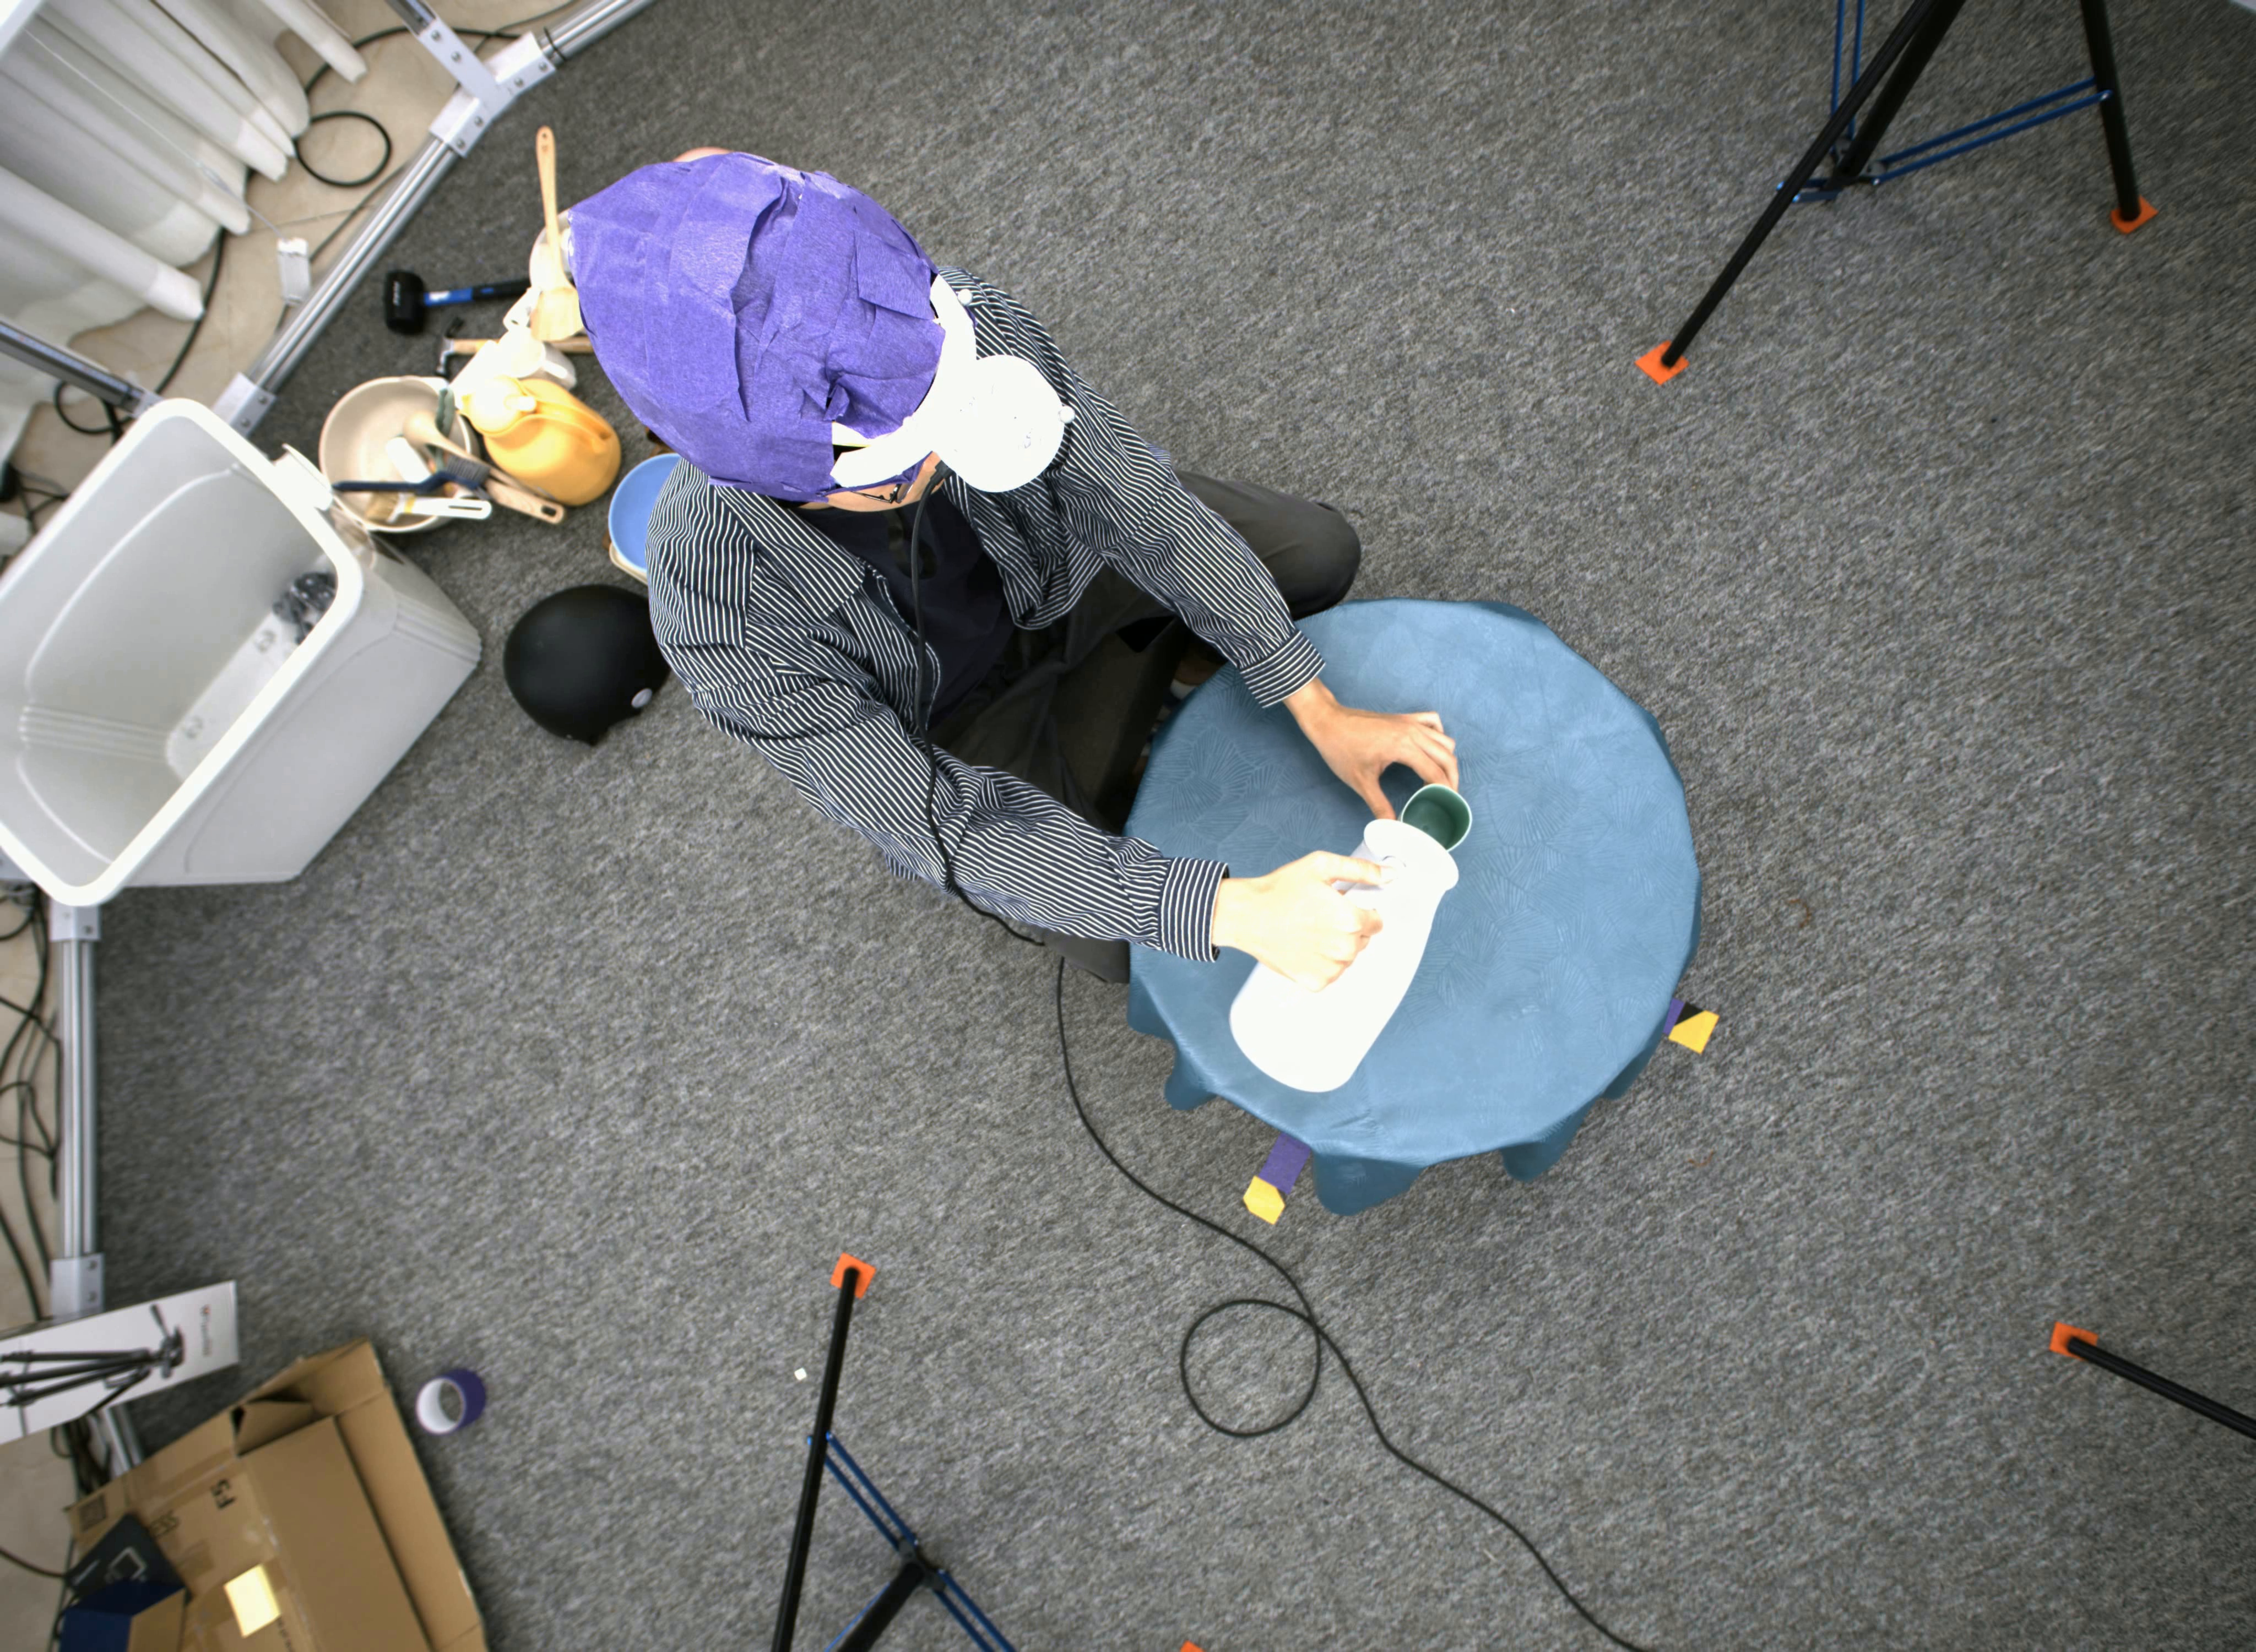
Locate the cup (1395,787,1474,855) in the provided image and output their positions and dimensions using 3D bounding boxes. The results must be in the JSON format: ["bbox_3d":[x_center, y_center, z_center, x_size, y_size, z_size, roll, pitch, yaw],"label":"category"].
[{"bbox_3d":[0.298,-0.003,1.353,0.067,0.132,0.066,0,88,8],"label":"cup"}]

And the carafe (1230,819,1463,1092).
[{"bbox_3d":[0.194,0.116,1.232,0.132,0.164,0.255,40,127,17],"label":"carafe"}]
